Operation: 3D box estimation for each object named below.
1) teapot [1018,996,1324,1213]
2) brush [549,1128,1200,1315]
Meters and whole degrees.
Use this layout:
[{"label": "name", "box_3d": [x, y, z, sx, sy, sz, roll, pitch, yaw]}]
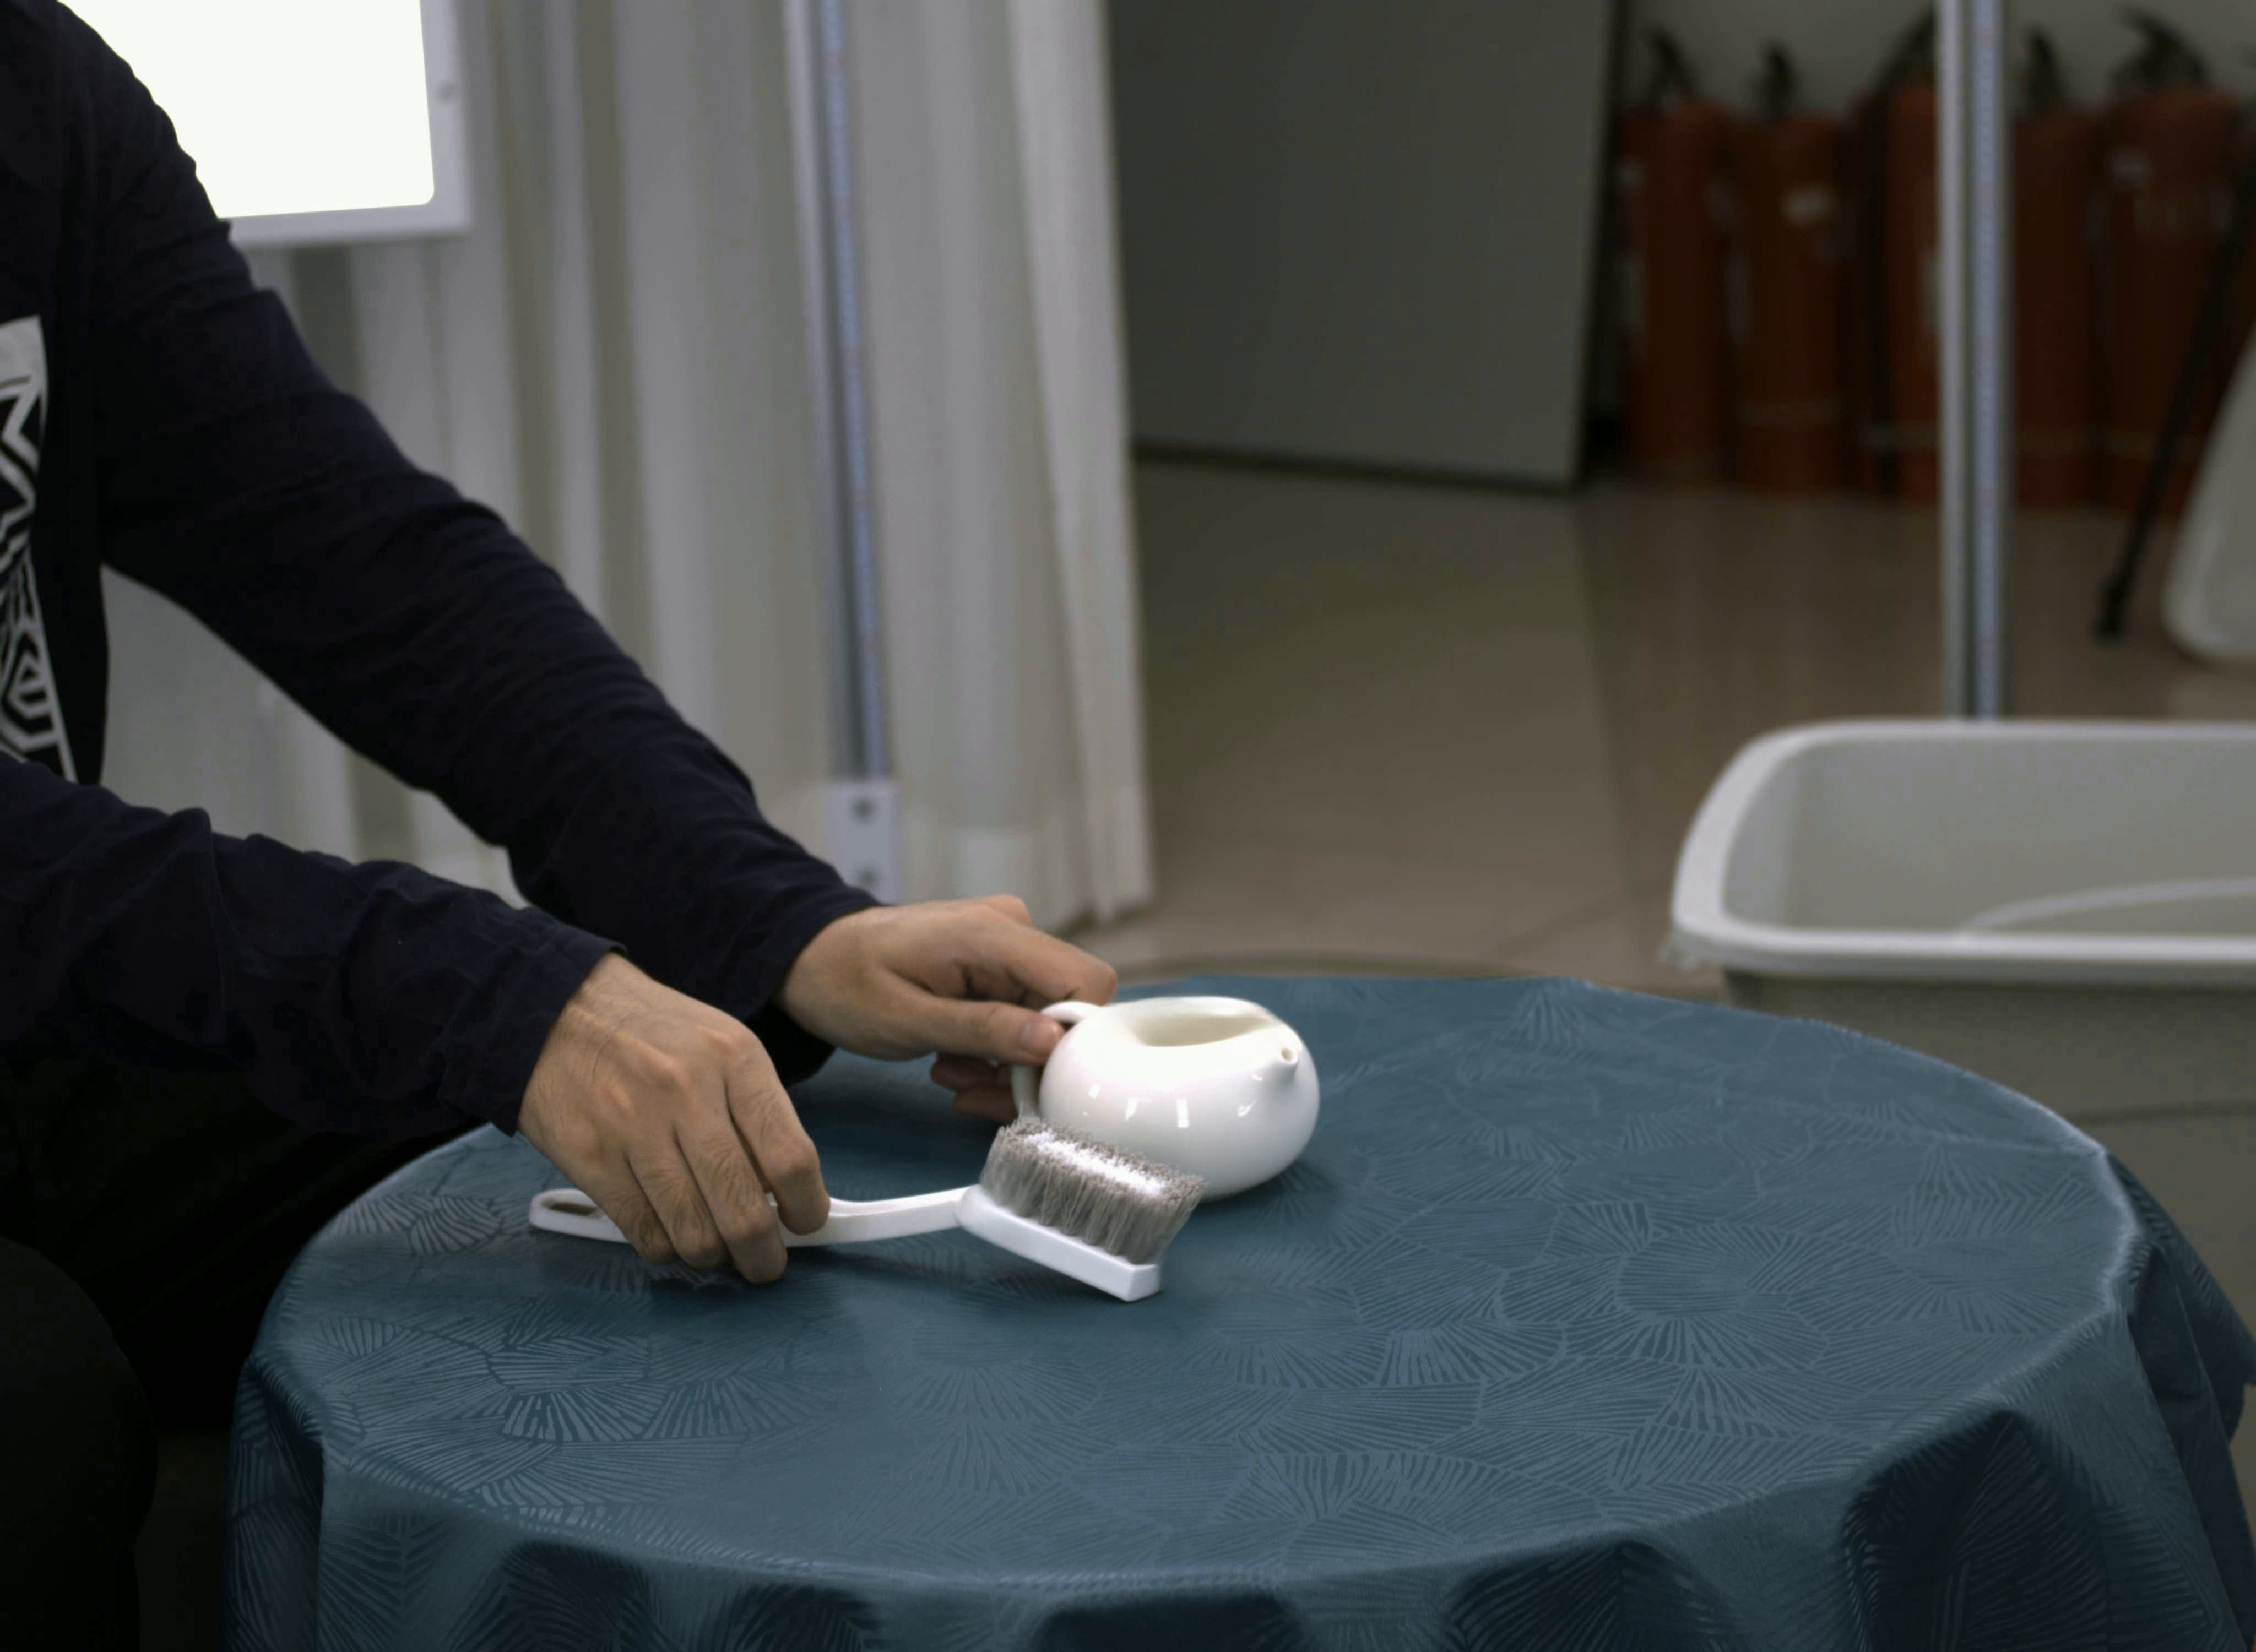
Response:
[{"label": "teapot", "box_3d": [0.010, 0.091, 1.784, 0.128, 0.057, 0.092, 5, 21, 39]}, {"label": "brush", "box_3d": [-0.086, 0.116, 1.722, 0.245, 0.051, 0.034, 5, 22, 31]}]
